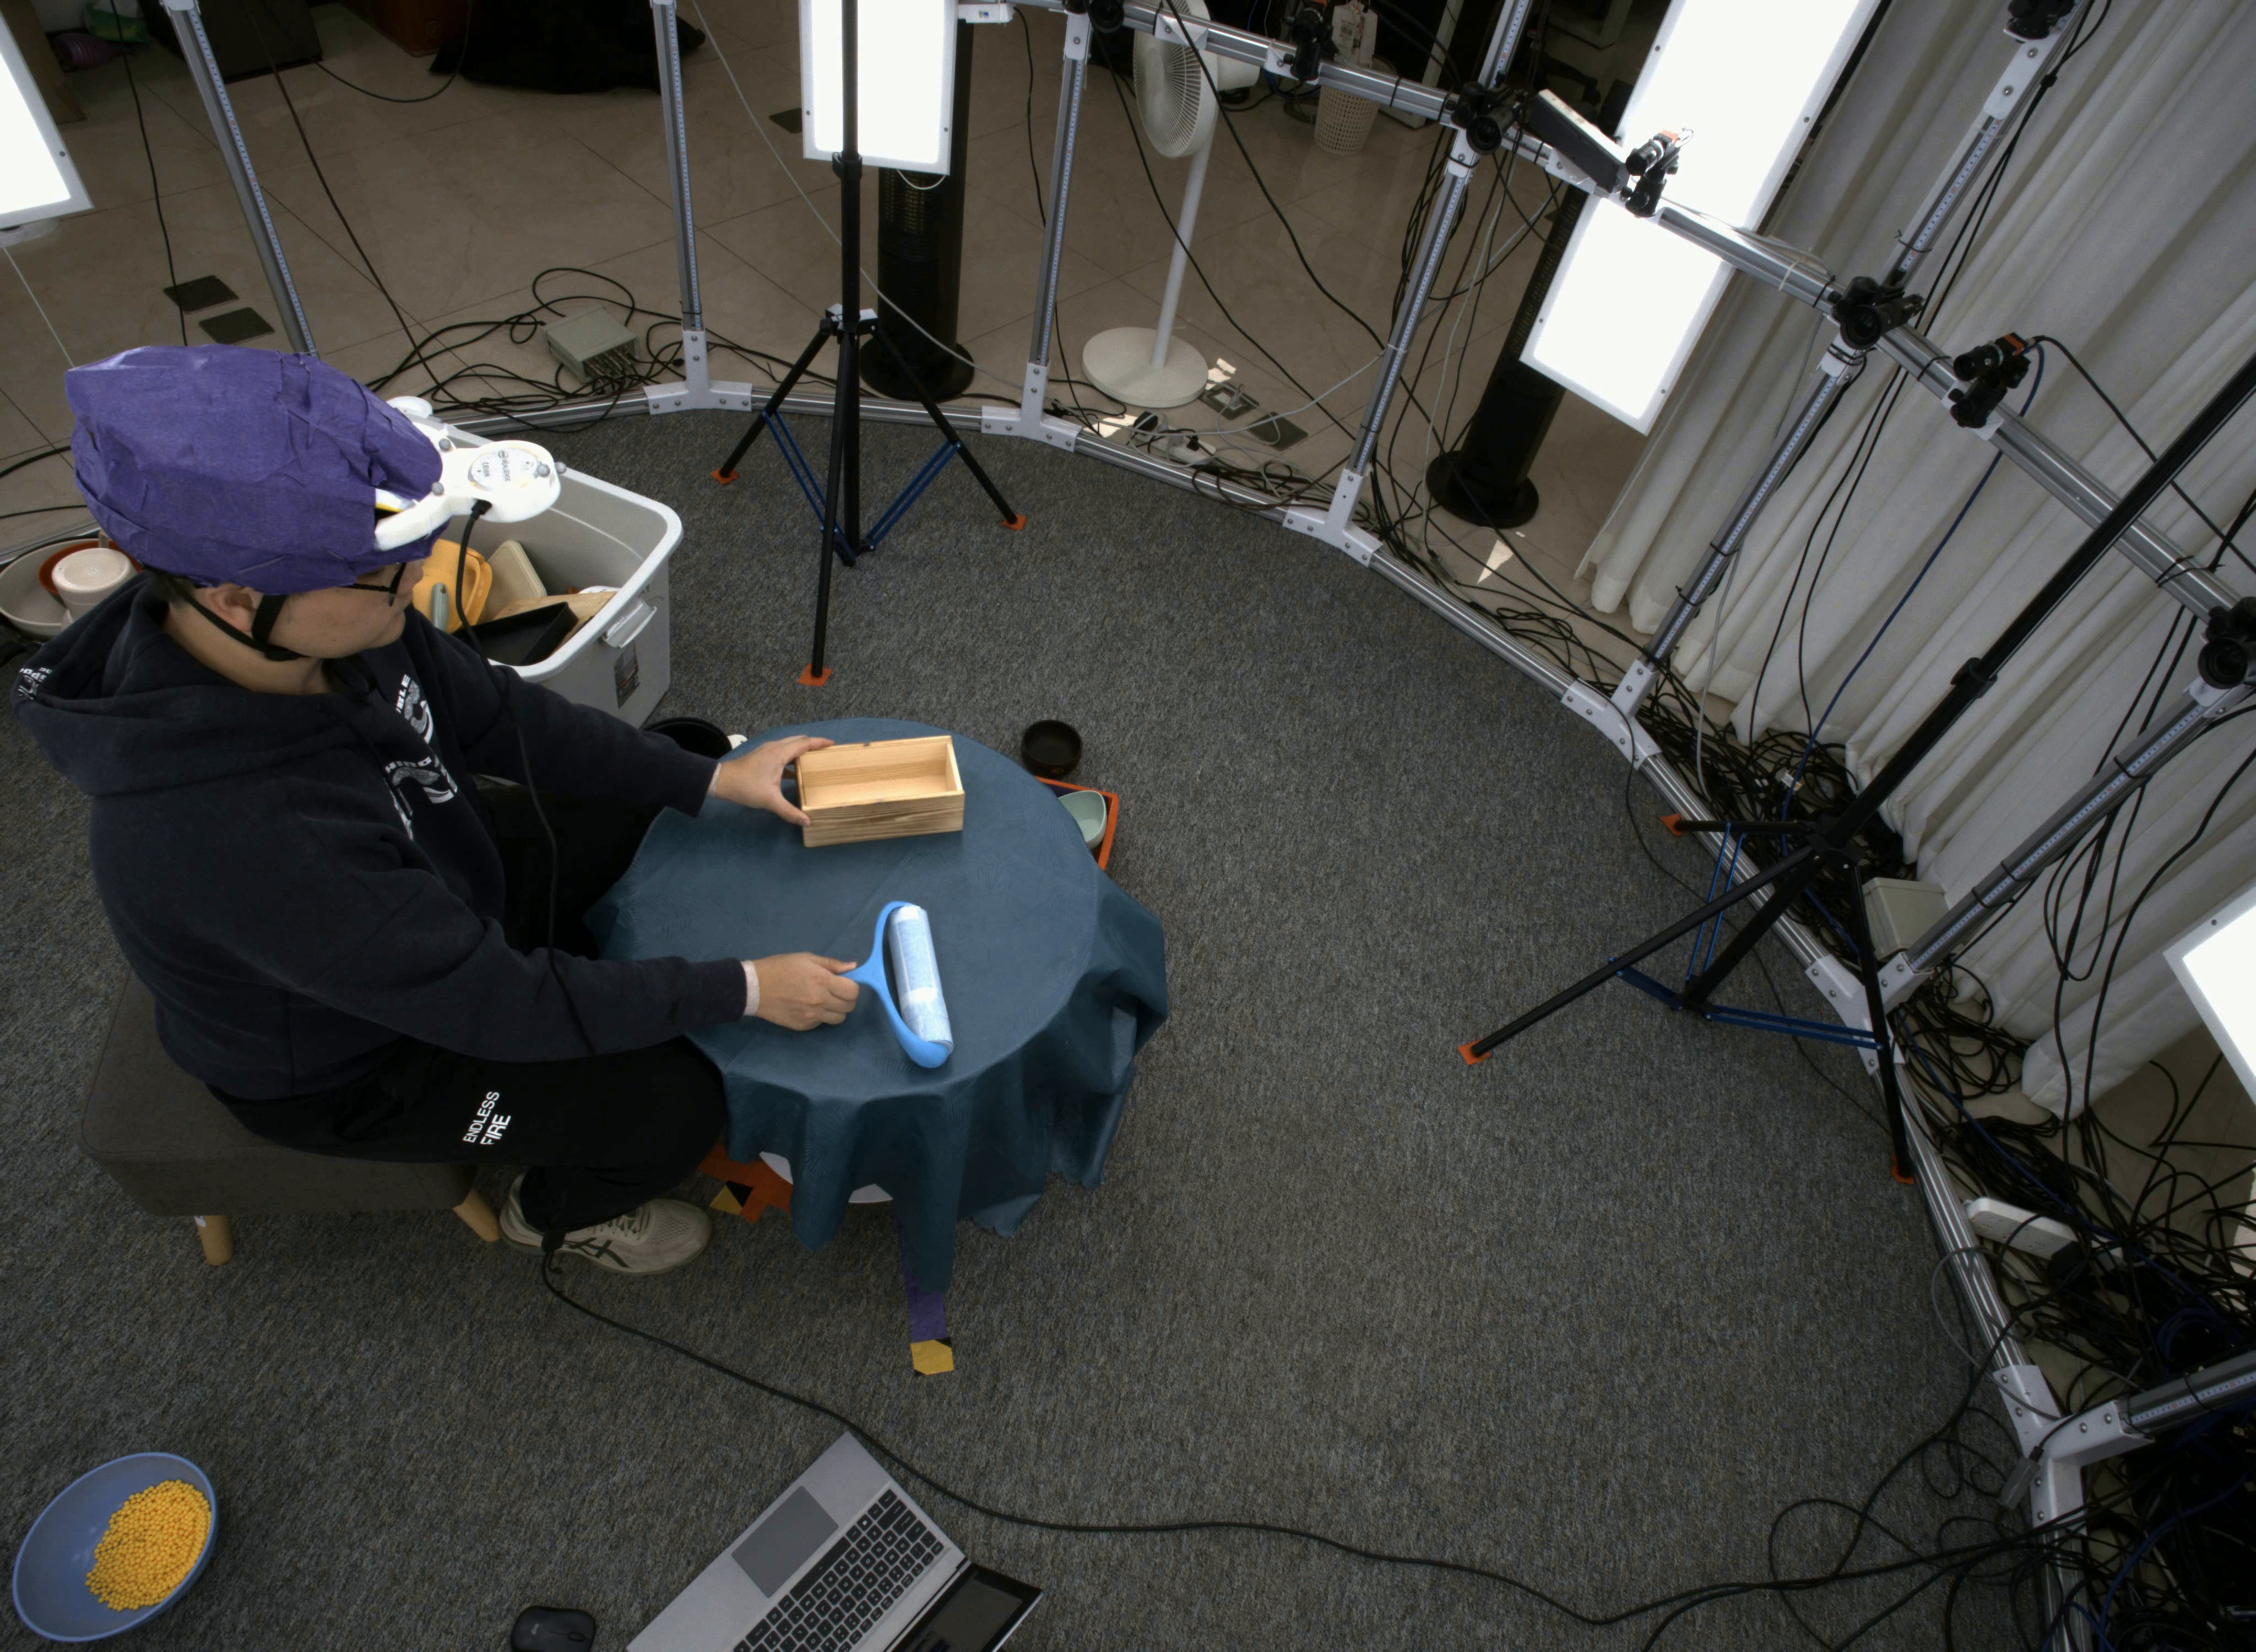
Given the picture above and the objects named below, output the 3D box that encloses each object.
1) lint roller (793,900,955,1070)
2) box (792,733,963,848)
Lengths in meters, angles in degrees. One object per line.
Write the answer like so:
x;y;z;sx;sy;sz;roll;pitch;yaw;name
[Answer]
-0.308;0.191;1.559;0.182;0.069;0.224;-2;57;-26;lint roller
-0.333;-0.049;1.728;0.212;0.082;0.105;-7;55;-18;box
